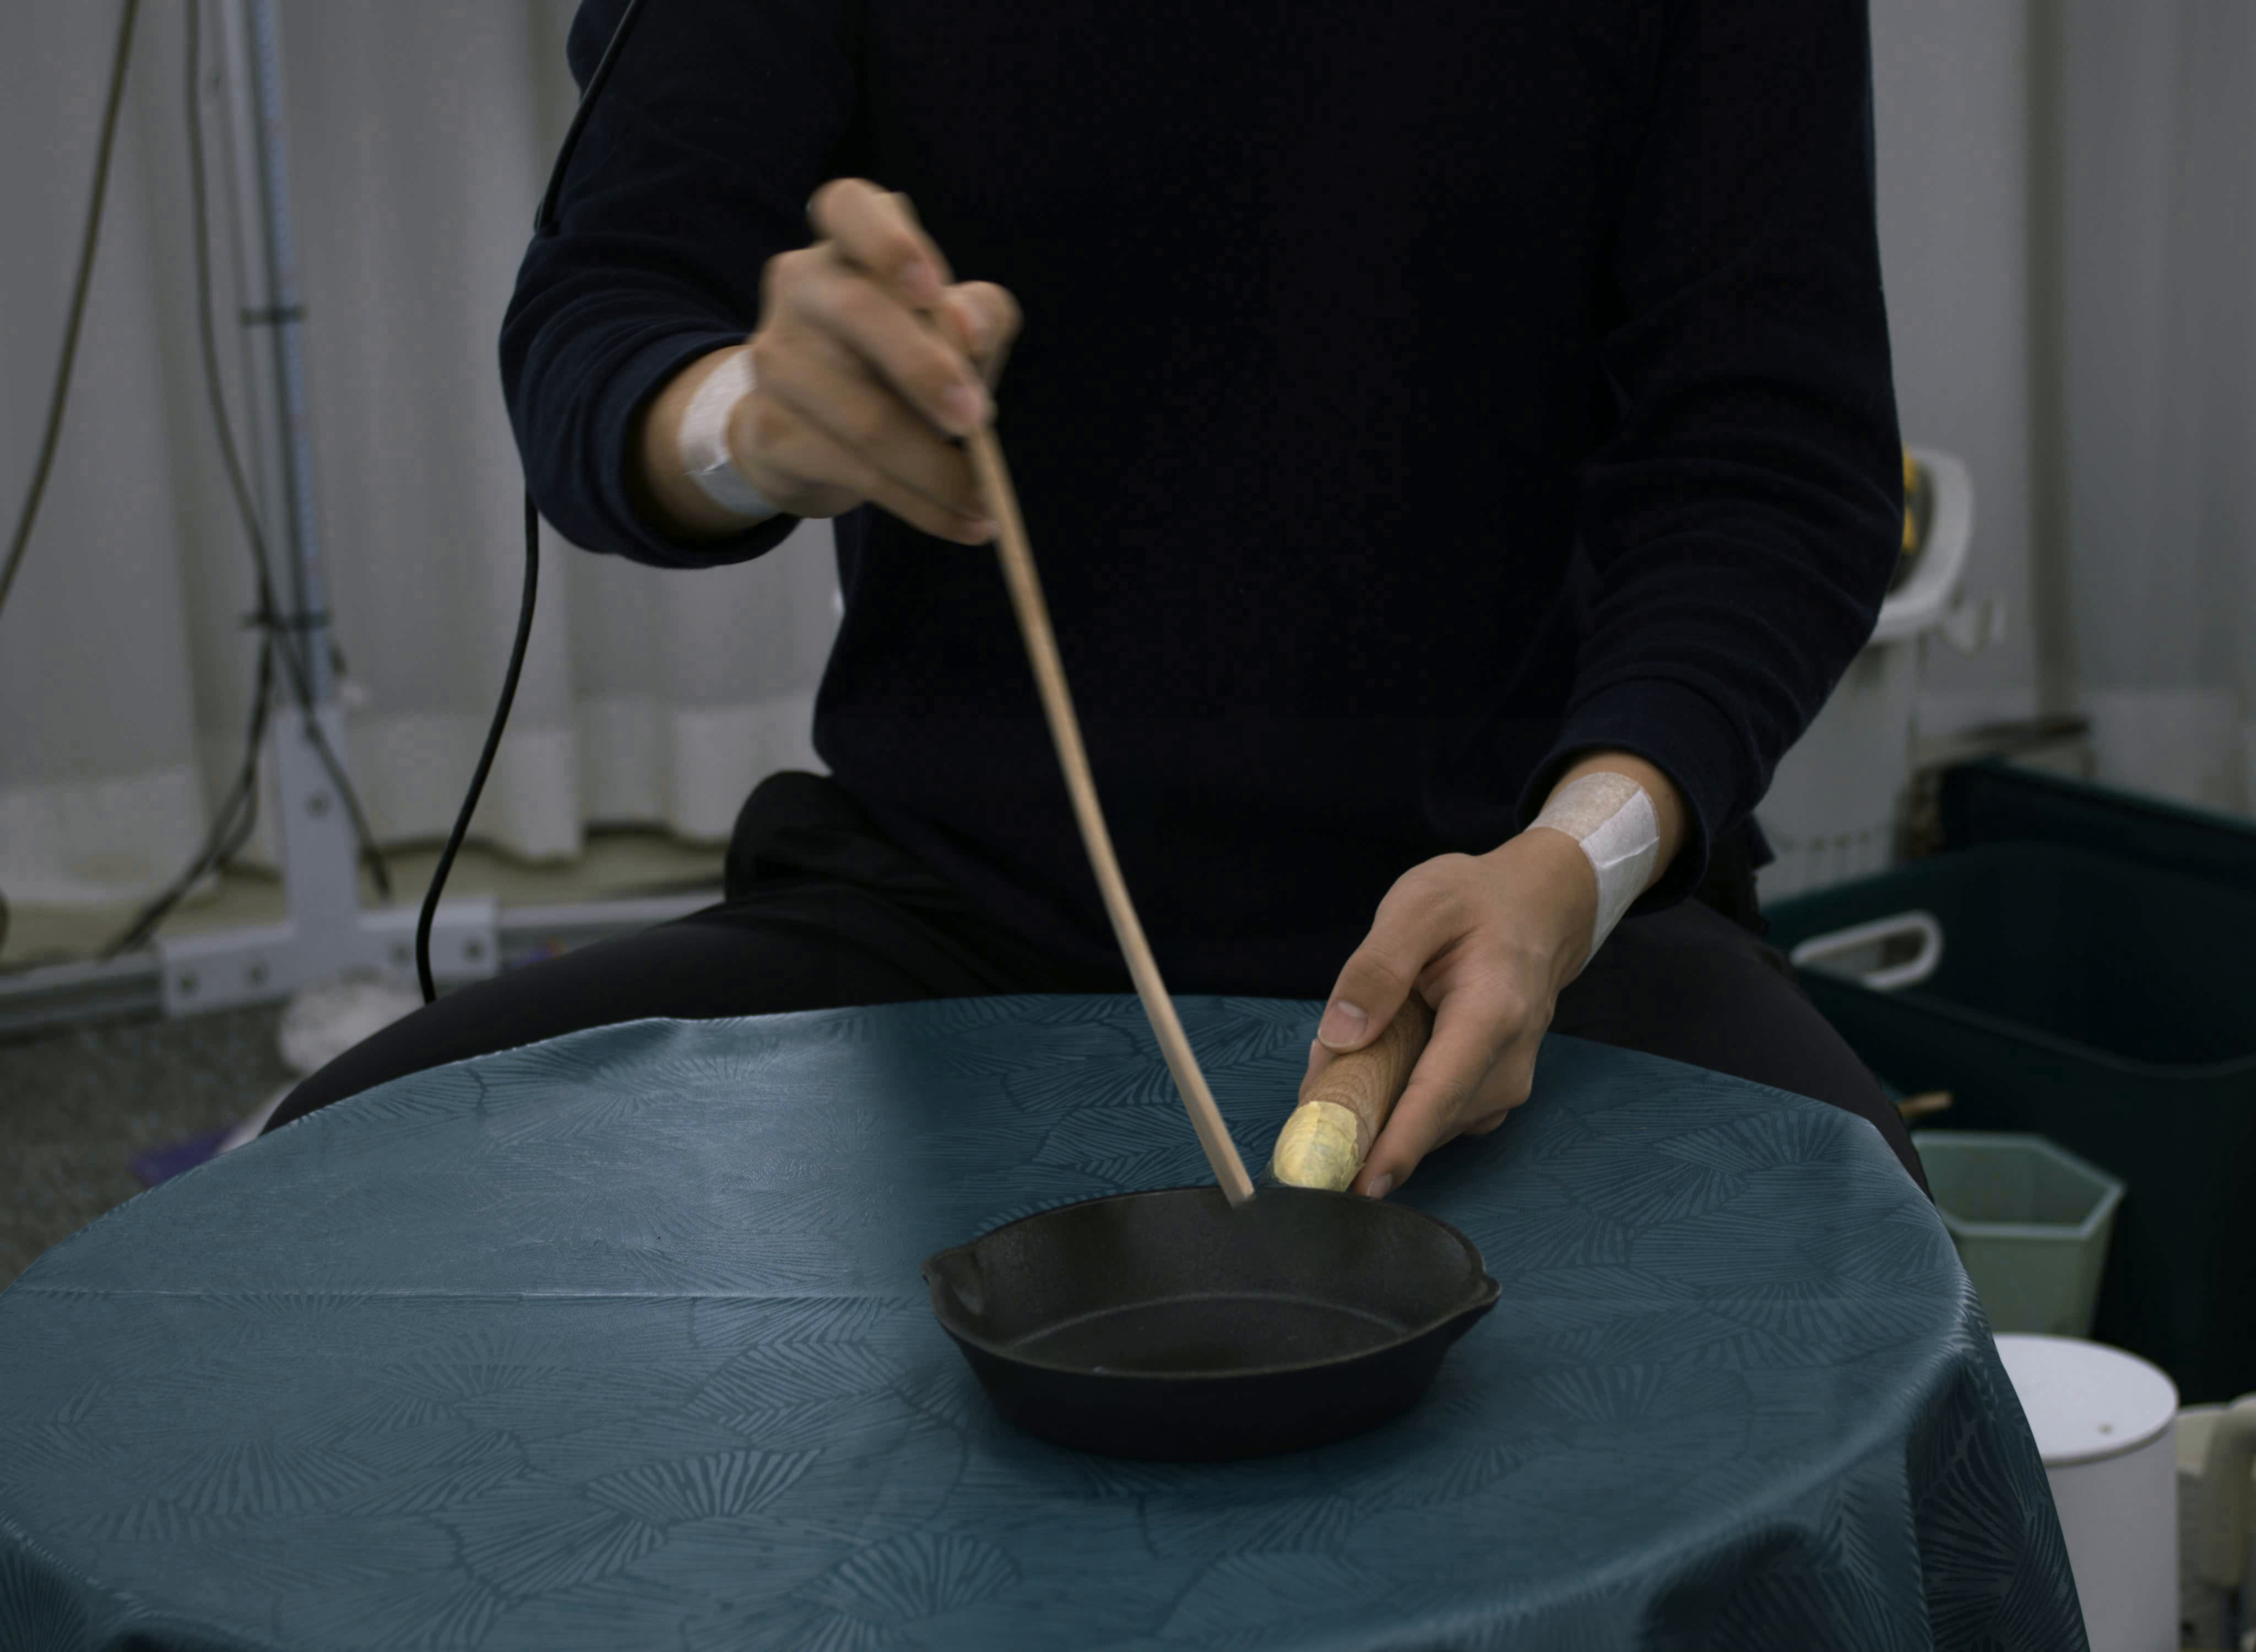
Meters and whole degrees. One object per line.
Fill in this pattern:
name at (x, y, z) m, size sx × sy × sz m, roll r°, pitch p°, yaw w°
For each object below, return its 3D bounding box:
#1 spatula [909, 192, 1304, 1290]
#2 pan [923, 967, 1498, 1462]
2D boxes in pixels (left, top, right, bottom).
spatula at (-0.009, -0.024, 1.553) m, size 0.016 × 0.329 × 0.080 m, roll -16°, pitch -4°, yaw -6°
pan at (0.050, 0.112, 1.620) m, size 0.169 × 0.049 × 0.325 m, roll 2°, pitch 17°, yaw 19°
